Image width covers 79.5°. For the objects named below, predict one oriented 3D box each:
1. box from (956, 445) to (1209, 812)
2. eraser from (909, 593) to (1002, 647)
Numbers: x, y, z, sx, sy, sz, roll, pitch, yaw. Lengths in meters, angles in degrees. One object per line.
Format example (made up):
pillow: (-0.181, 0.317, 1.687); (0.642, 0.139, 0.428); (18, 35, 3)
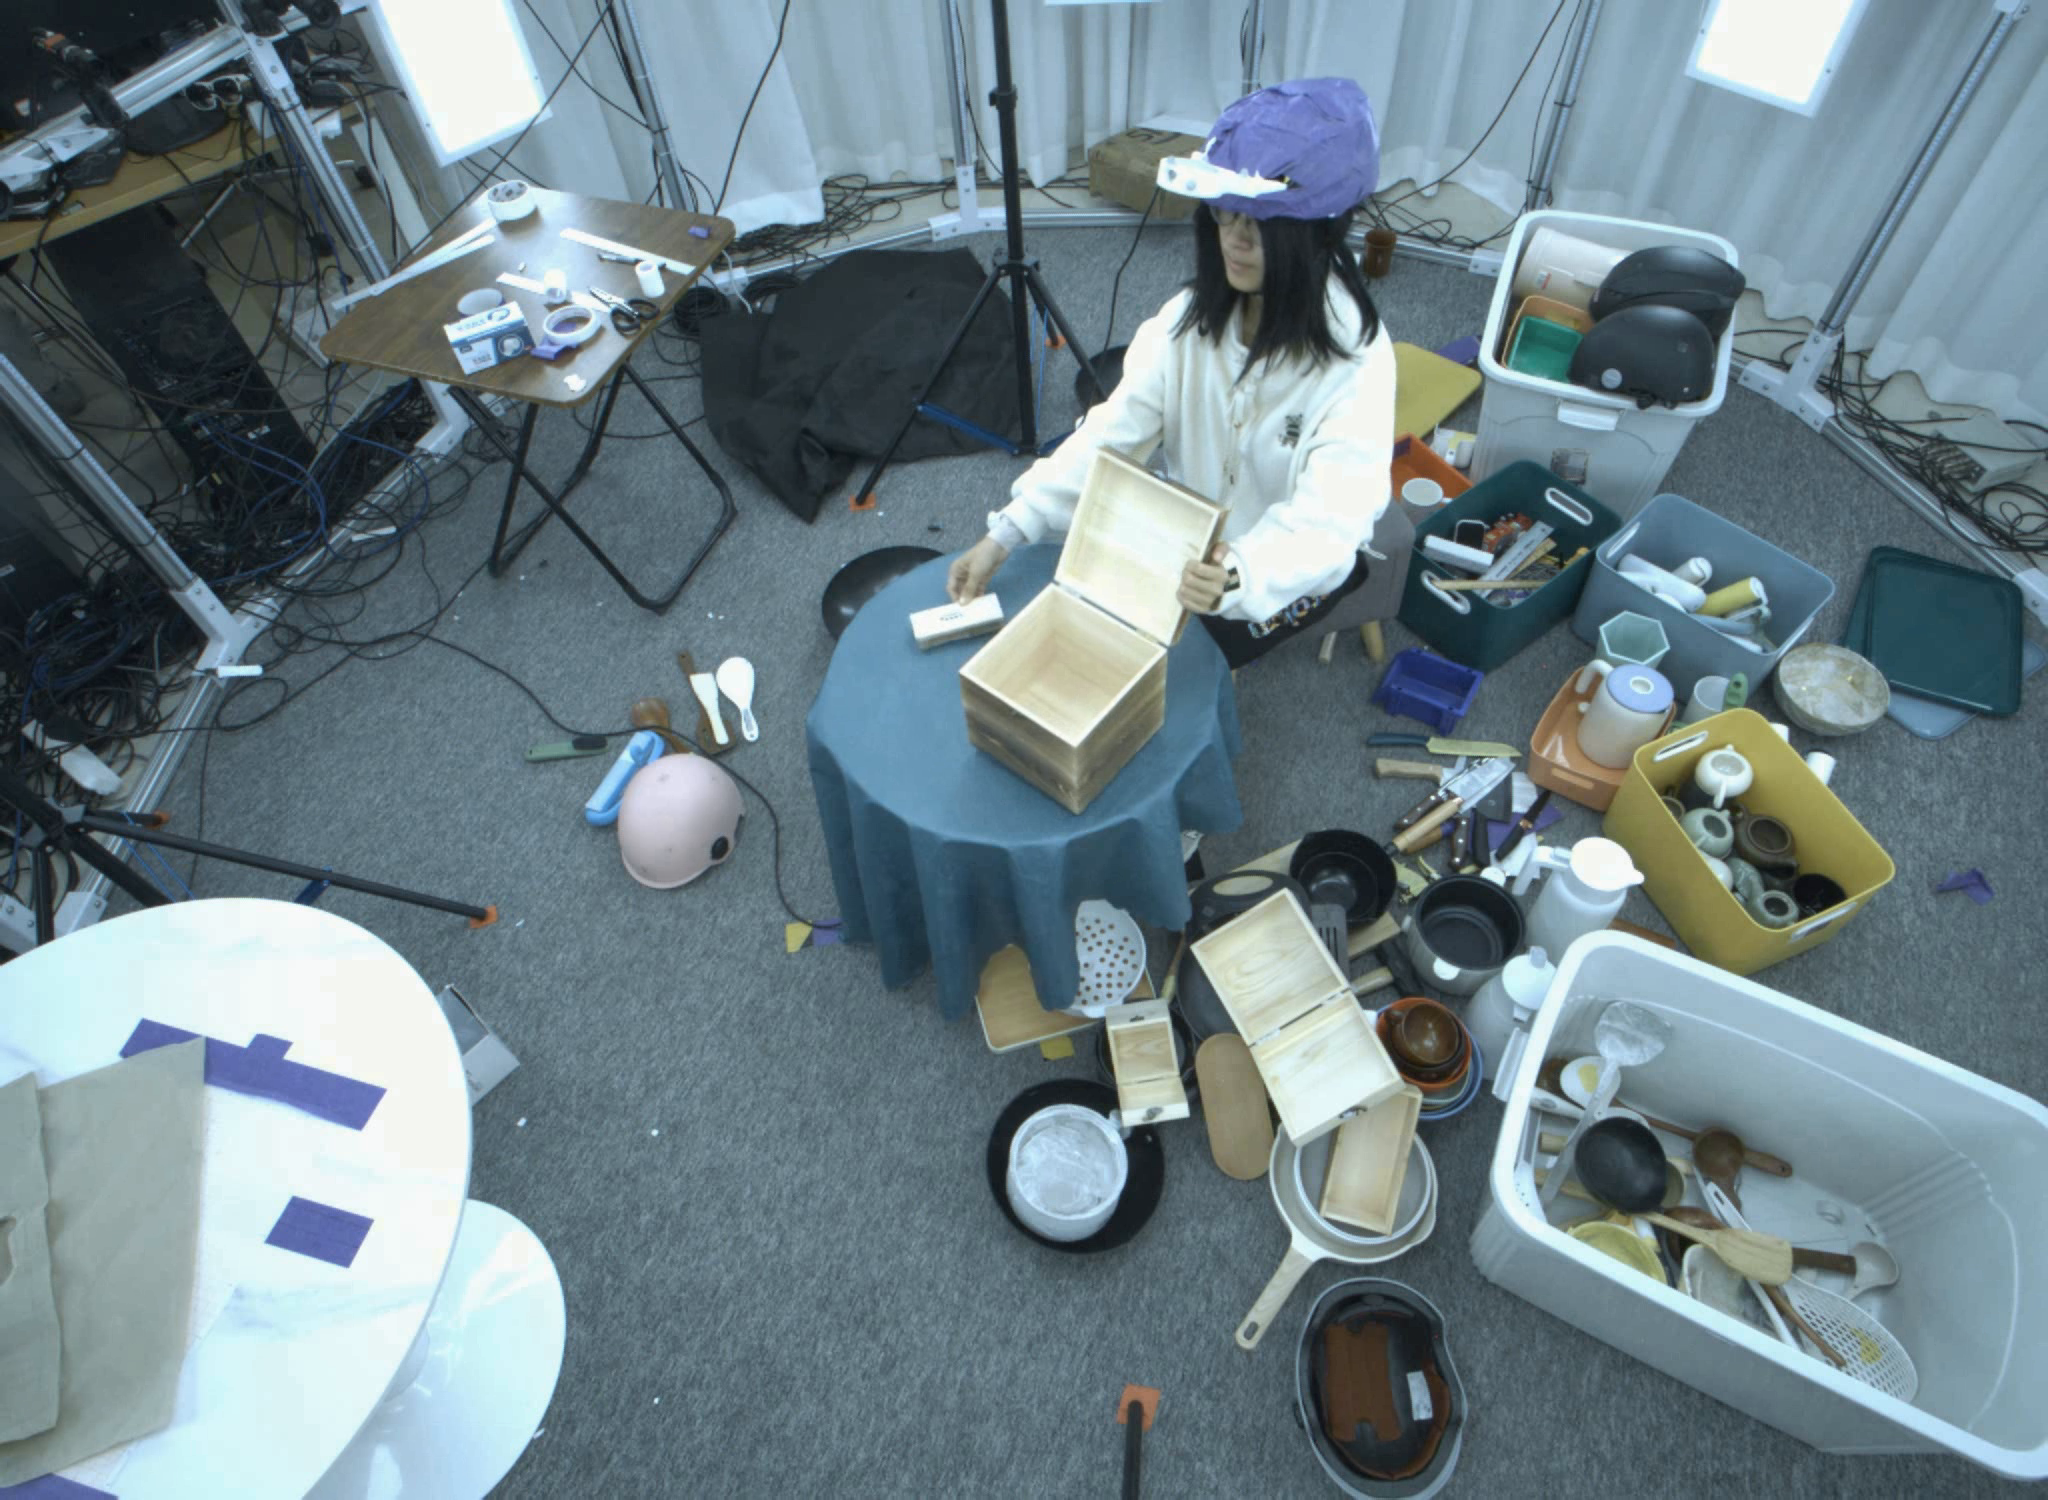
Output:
box: (0.080, -0.163, 1.653); (0.205, 0.380, 0.323); (32, 65, 23)
eraser: (-0.106, -0.203, 1.913); (0.140, 0.029, 0.056); (-14, 51, -5)
